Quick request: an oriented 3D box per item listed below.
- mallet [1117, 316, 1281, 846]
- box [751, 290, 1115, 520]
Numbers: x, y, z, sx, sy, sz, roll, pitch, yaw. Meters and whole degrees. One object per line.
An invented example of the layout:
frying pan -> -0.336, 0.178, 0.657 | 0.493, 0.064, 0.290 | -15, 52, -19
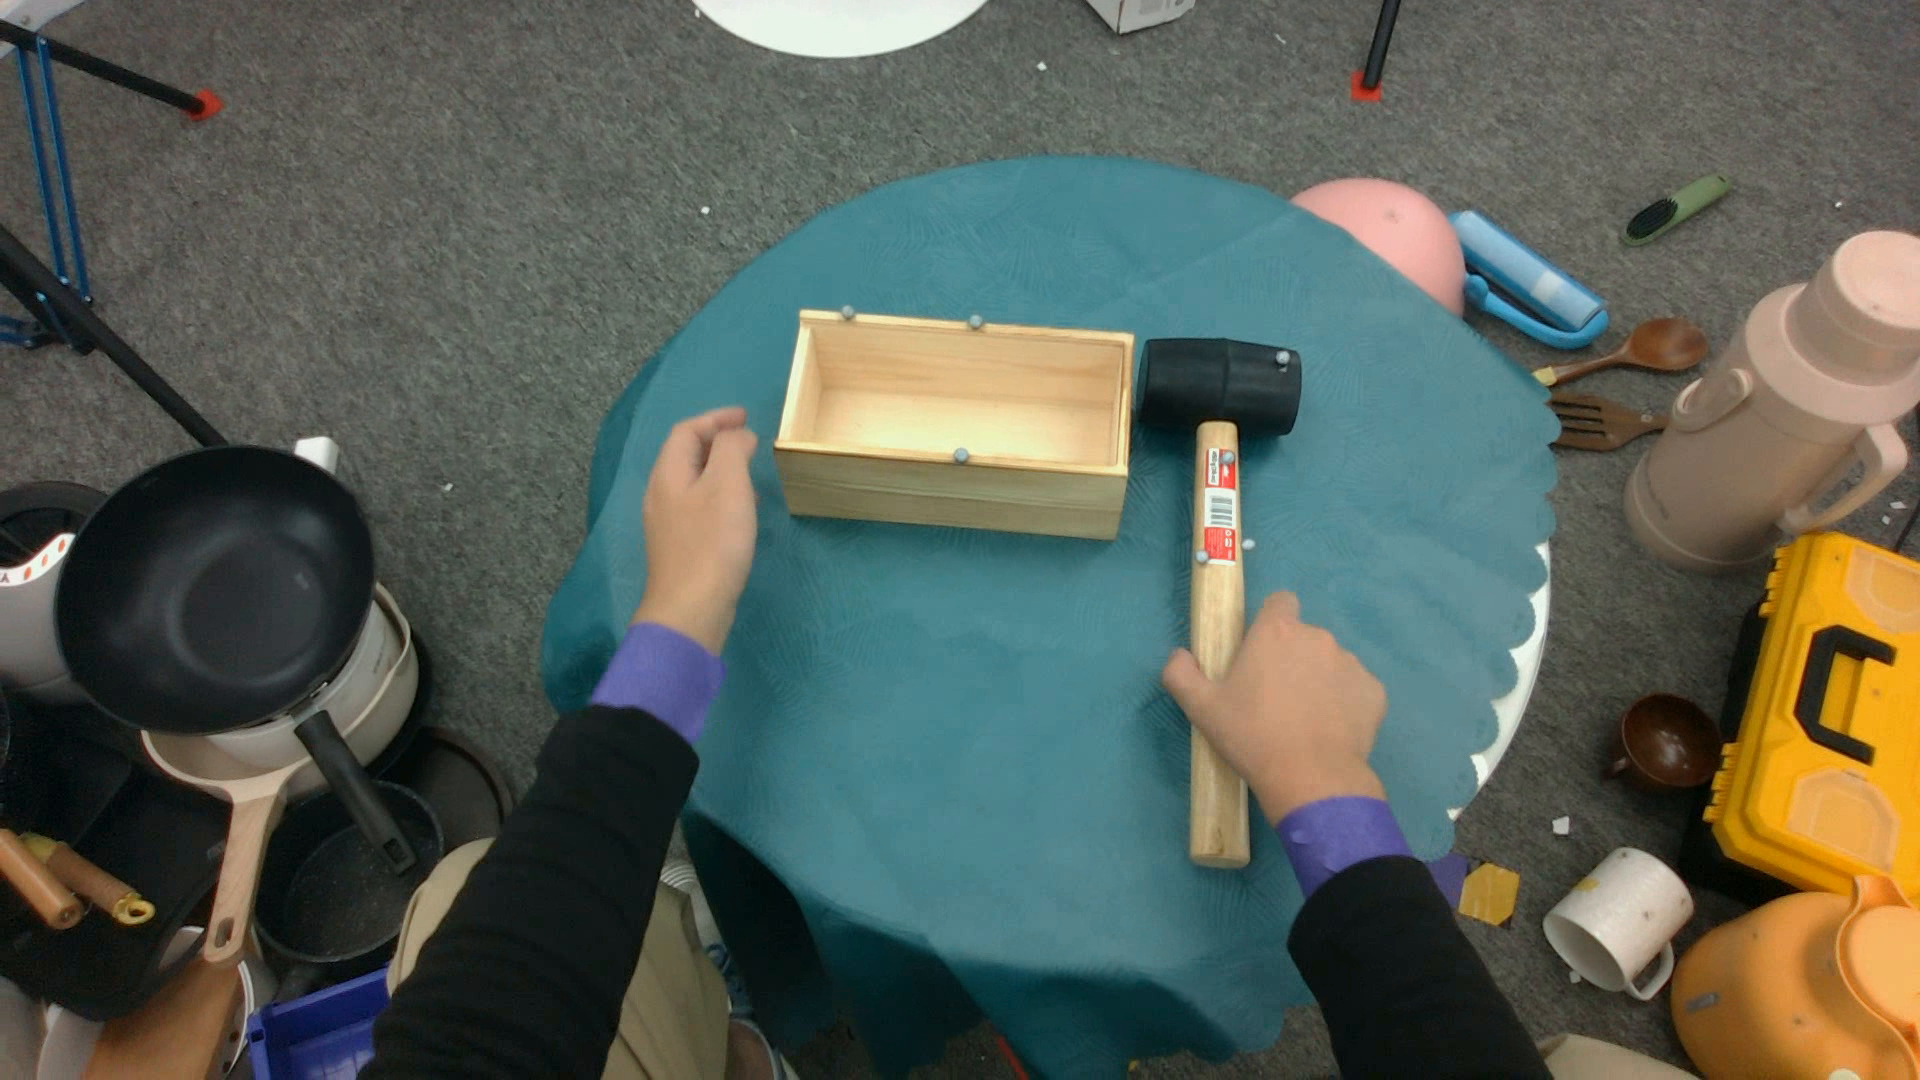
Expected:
mallet -> 0.143, 0.010, 0.823 | 0.102, 0.064, 0.340 | 3, 62, 3
box -> -0.014, -0.084, 0.863 | 0.211, 0.080, 0.108 | 4, 62, 3
